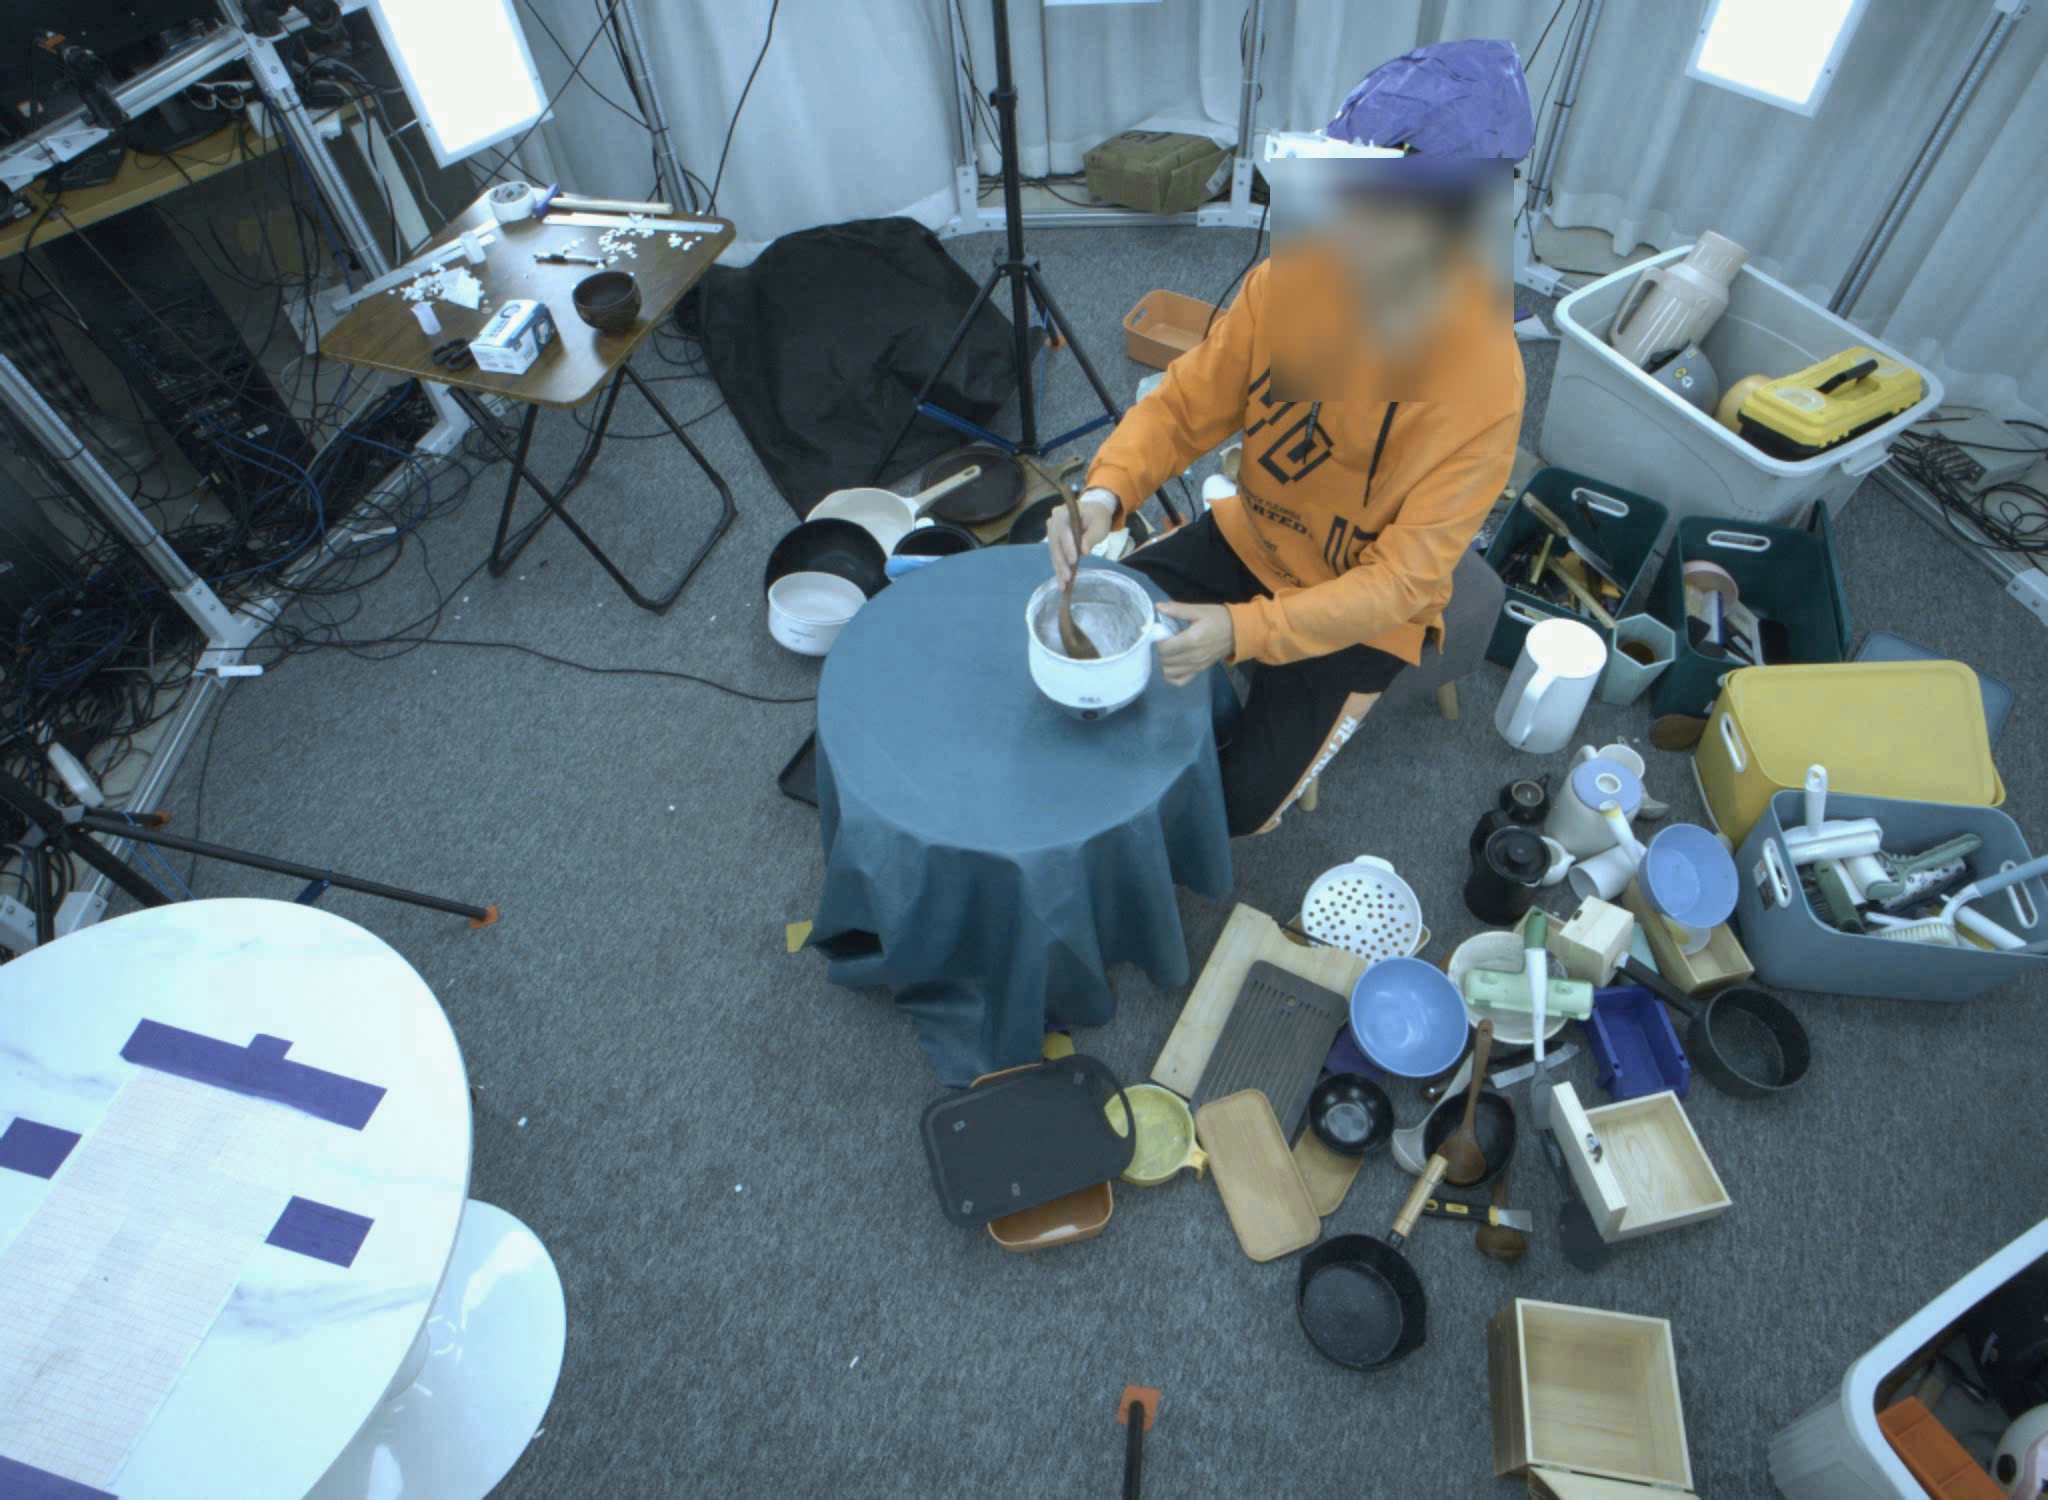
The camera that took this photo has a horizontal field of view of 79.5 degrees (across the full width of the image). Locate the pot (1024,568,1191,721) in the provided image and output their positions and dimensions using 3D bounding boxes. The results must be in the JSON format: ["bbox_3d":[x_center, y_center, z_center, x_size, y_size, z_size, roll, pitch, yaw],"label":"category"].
[{"bbox_3d":[0.120,-0.149,1.741,0.233,0.138,0.177,-1,55,2],"label":"pot"}]

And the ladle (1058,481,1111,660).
[{"bbox_3d":[0.084,-0.241,1.684,0.065,0.262,0.076,-3,25,0],"label":"ladle"}]
